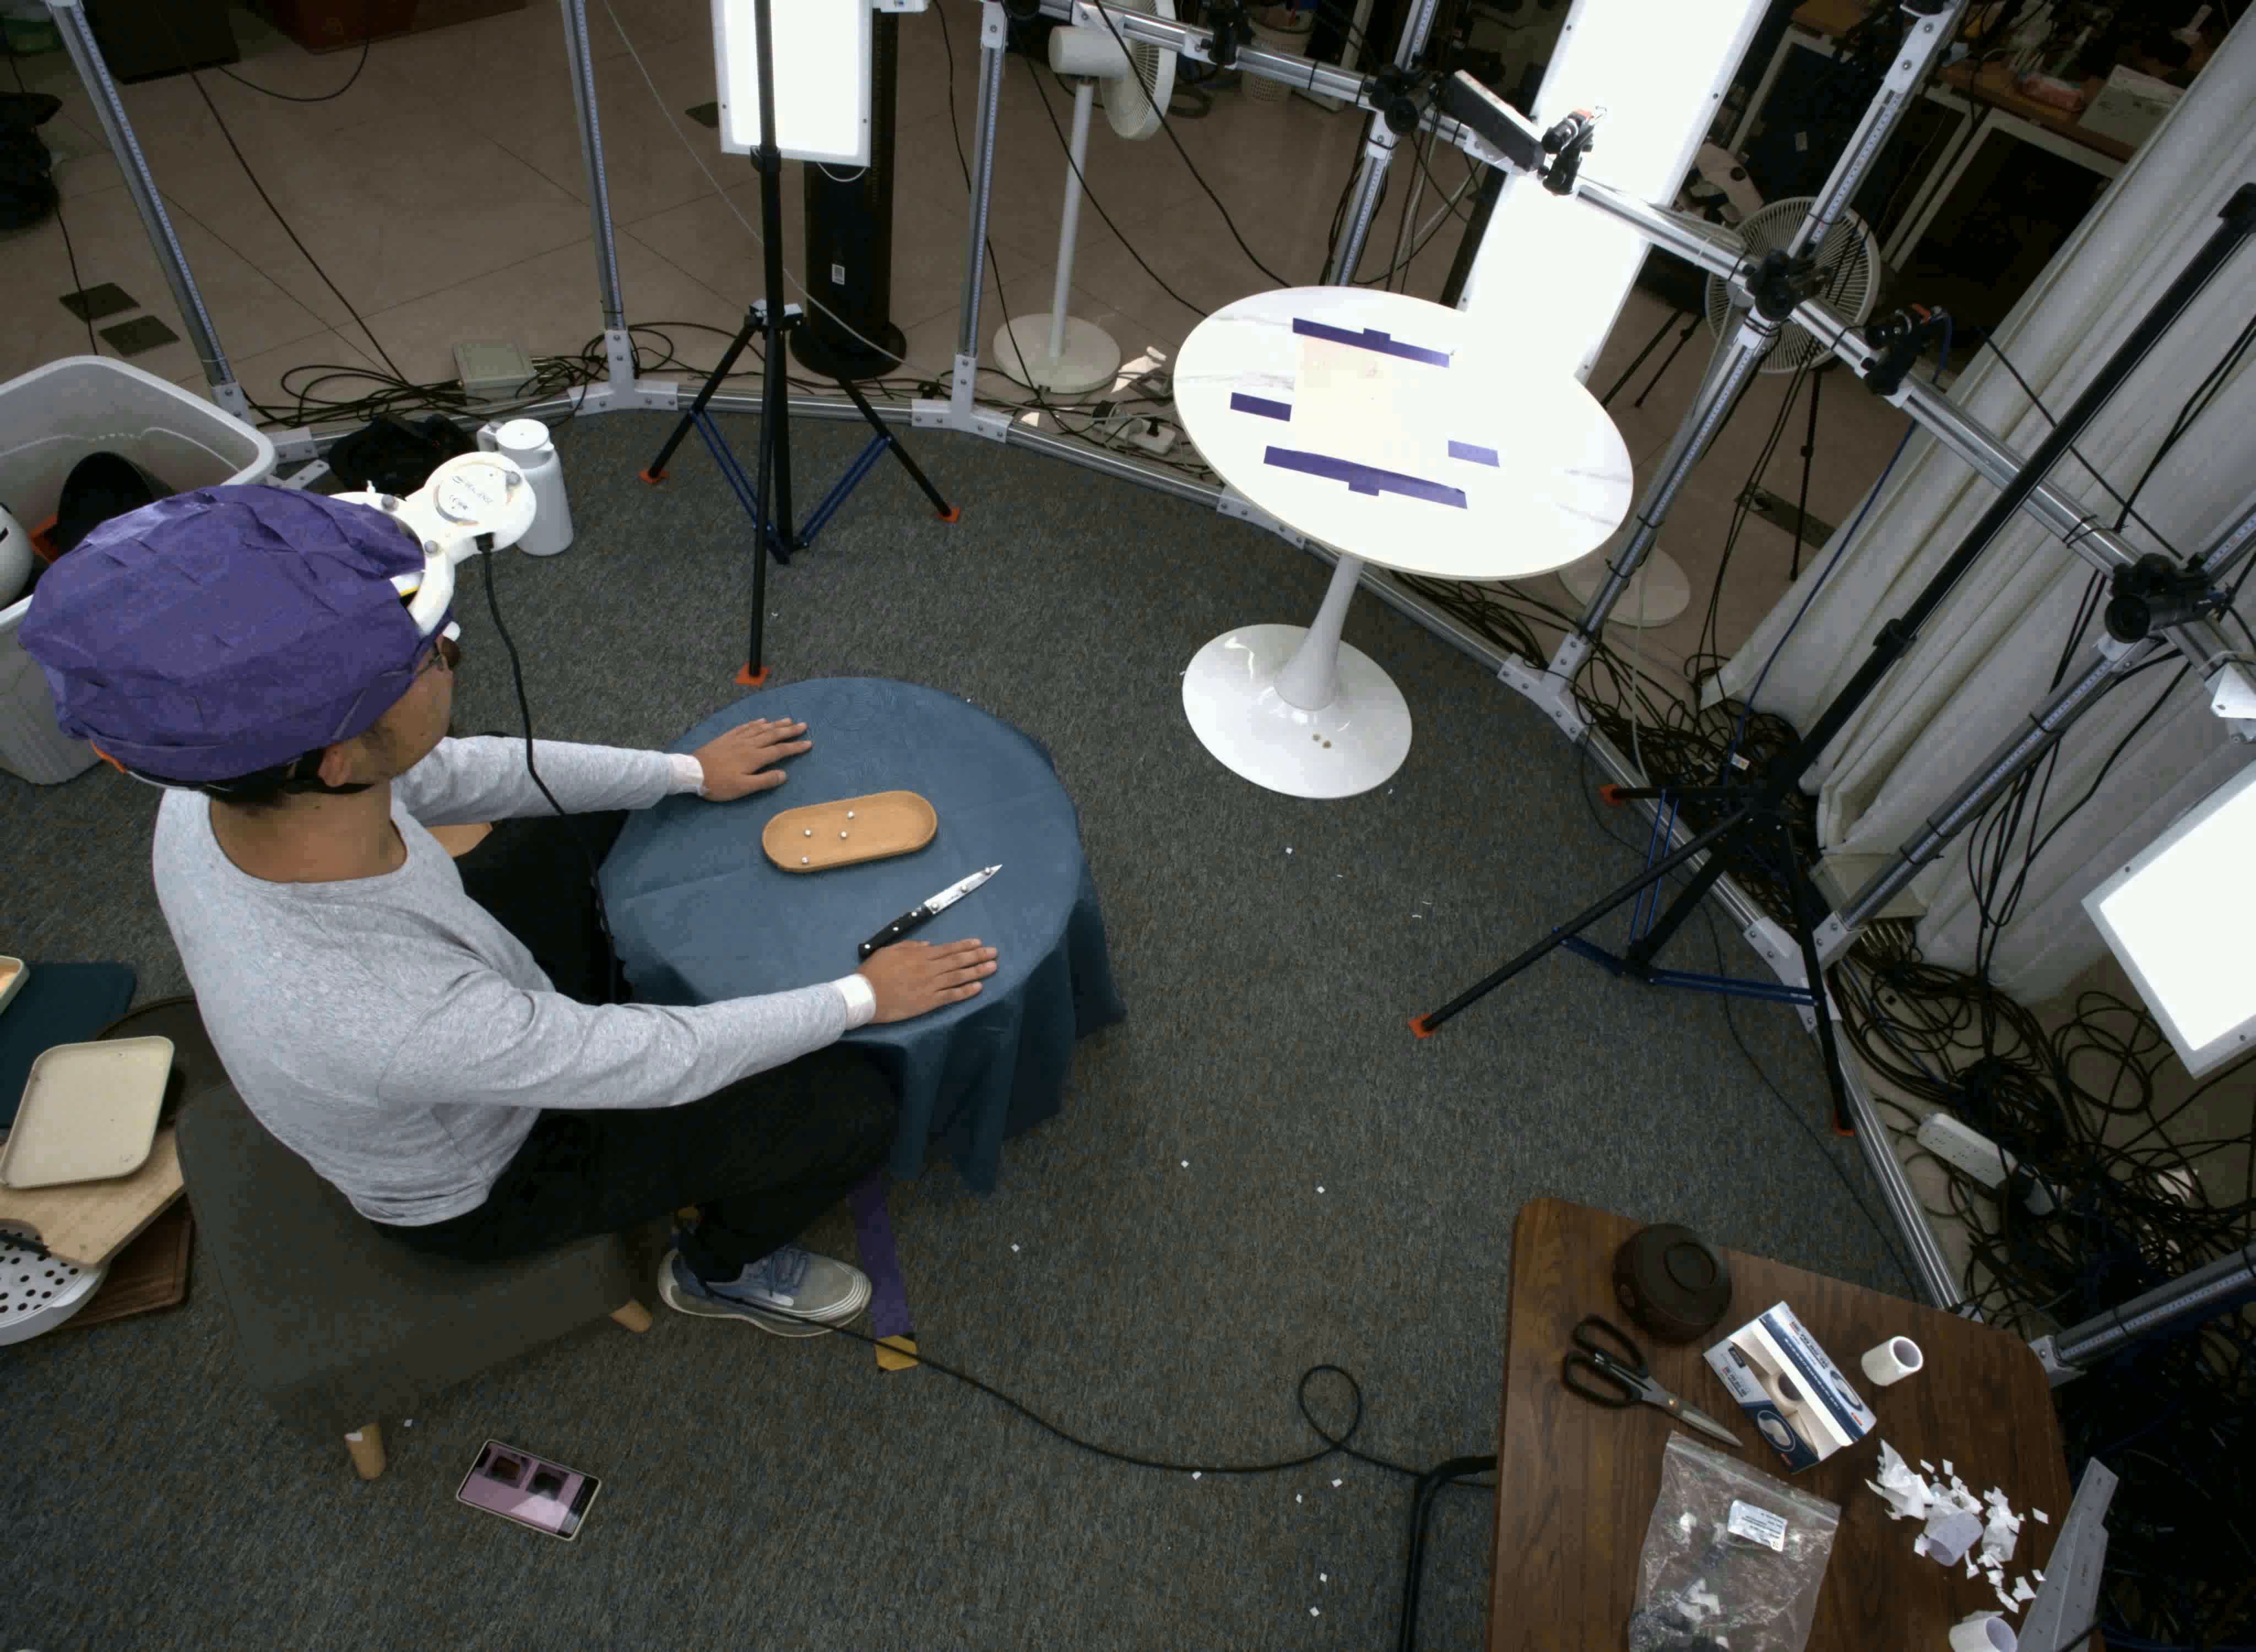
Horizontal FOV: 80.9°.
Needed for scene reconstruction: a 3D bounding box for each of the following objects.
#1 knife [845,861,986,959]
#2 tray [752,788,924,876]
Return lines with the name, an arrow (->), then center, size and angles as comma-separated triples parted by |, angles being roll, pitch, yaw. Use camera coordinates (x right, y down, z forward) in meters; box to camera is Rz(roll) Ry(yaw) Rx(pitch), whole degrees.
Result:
knife -> -0.269, 0.105, 1.690 | 0.024, 0.016, 0.239 | 40, 52, 20
tray -> -0.385, 0.007, 1.731 | 0.232, 0.021, 0.099 | -13, 60, -24
